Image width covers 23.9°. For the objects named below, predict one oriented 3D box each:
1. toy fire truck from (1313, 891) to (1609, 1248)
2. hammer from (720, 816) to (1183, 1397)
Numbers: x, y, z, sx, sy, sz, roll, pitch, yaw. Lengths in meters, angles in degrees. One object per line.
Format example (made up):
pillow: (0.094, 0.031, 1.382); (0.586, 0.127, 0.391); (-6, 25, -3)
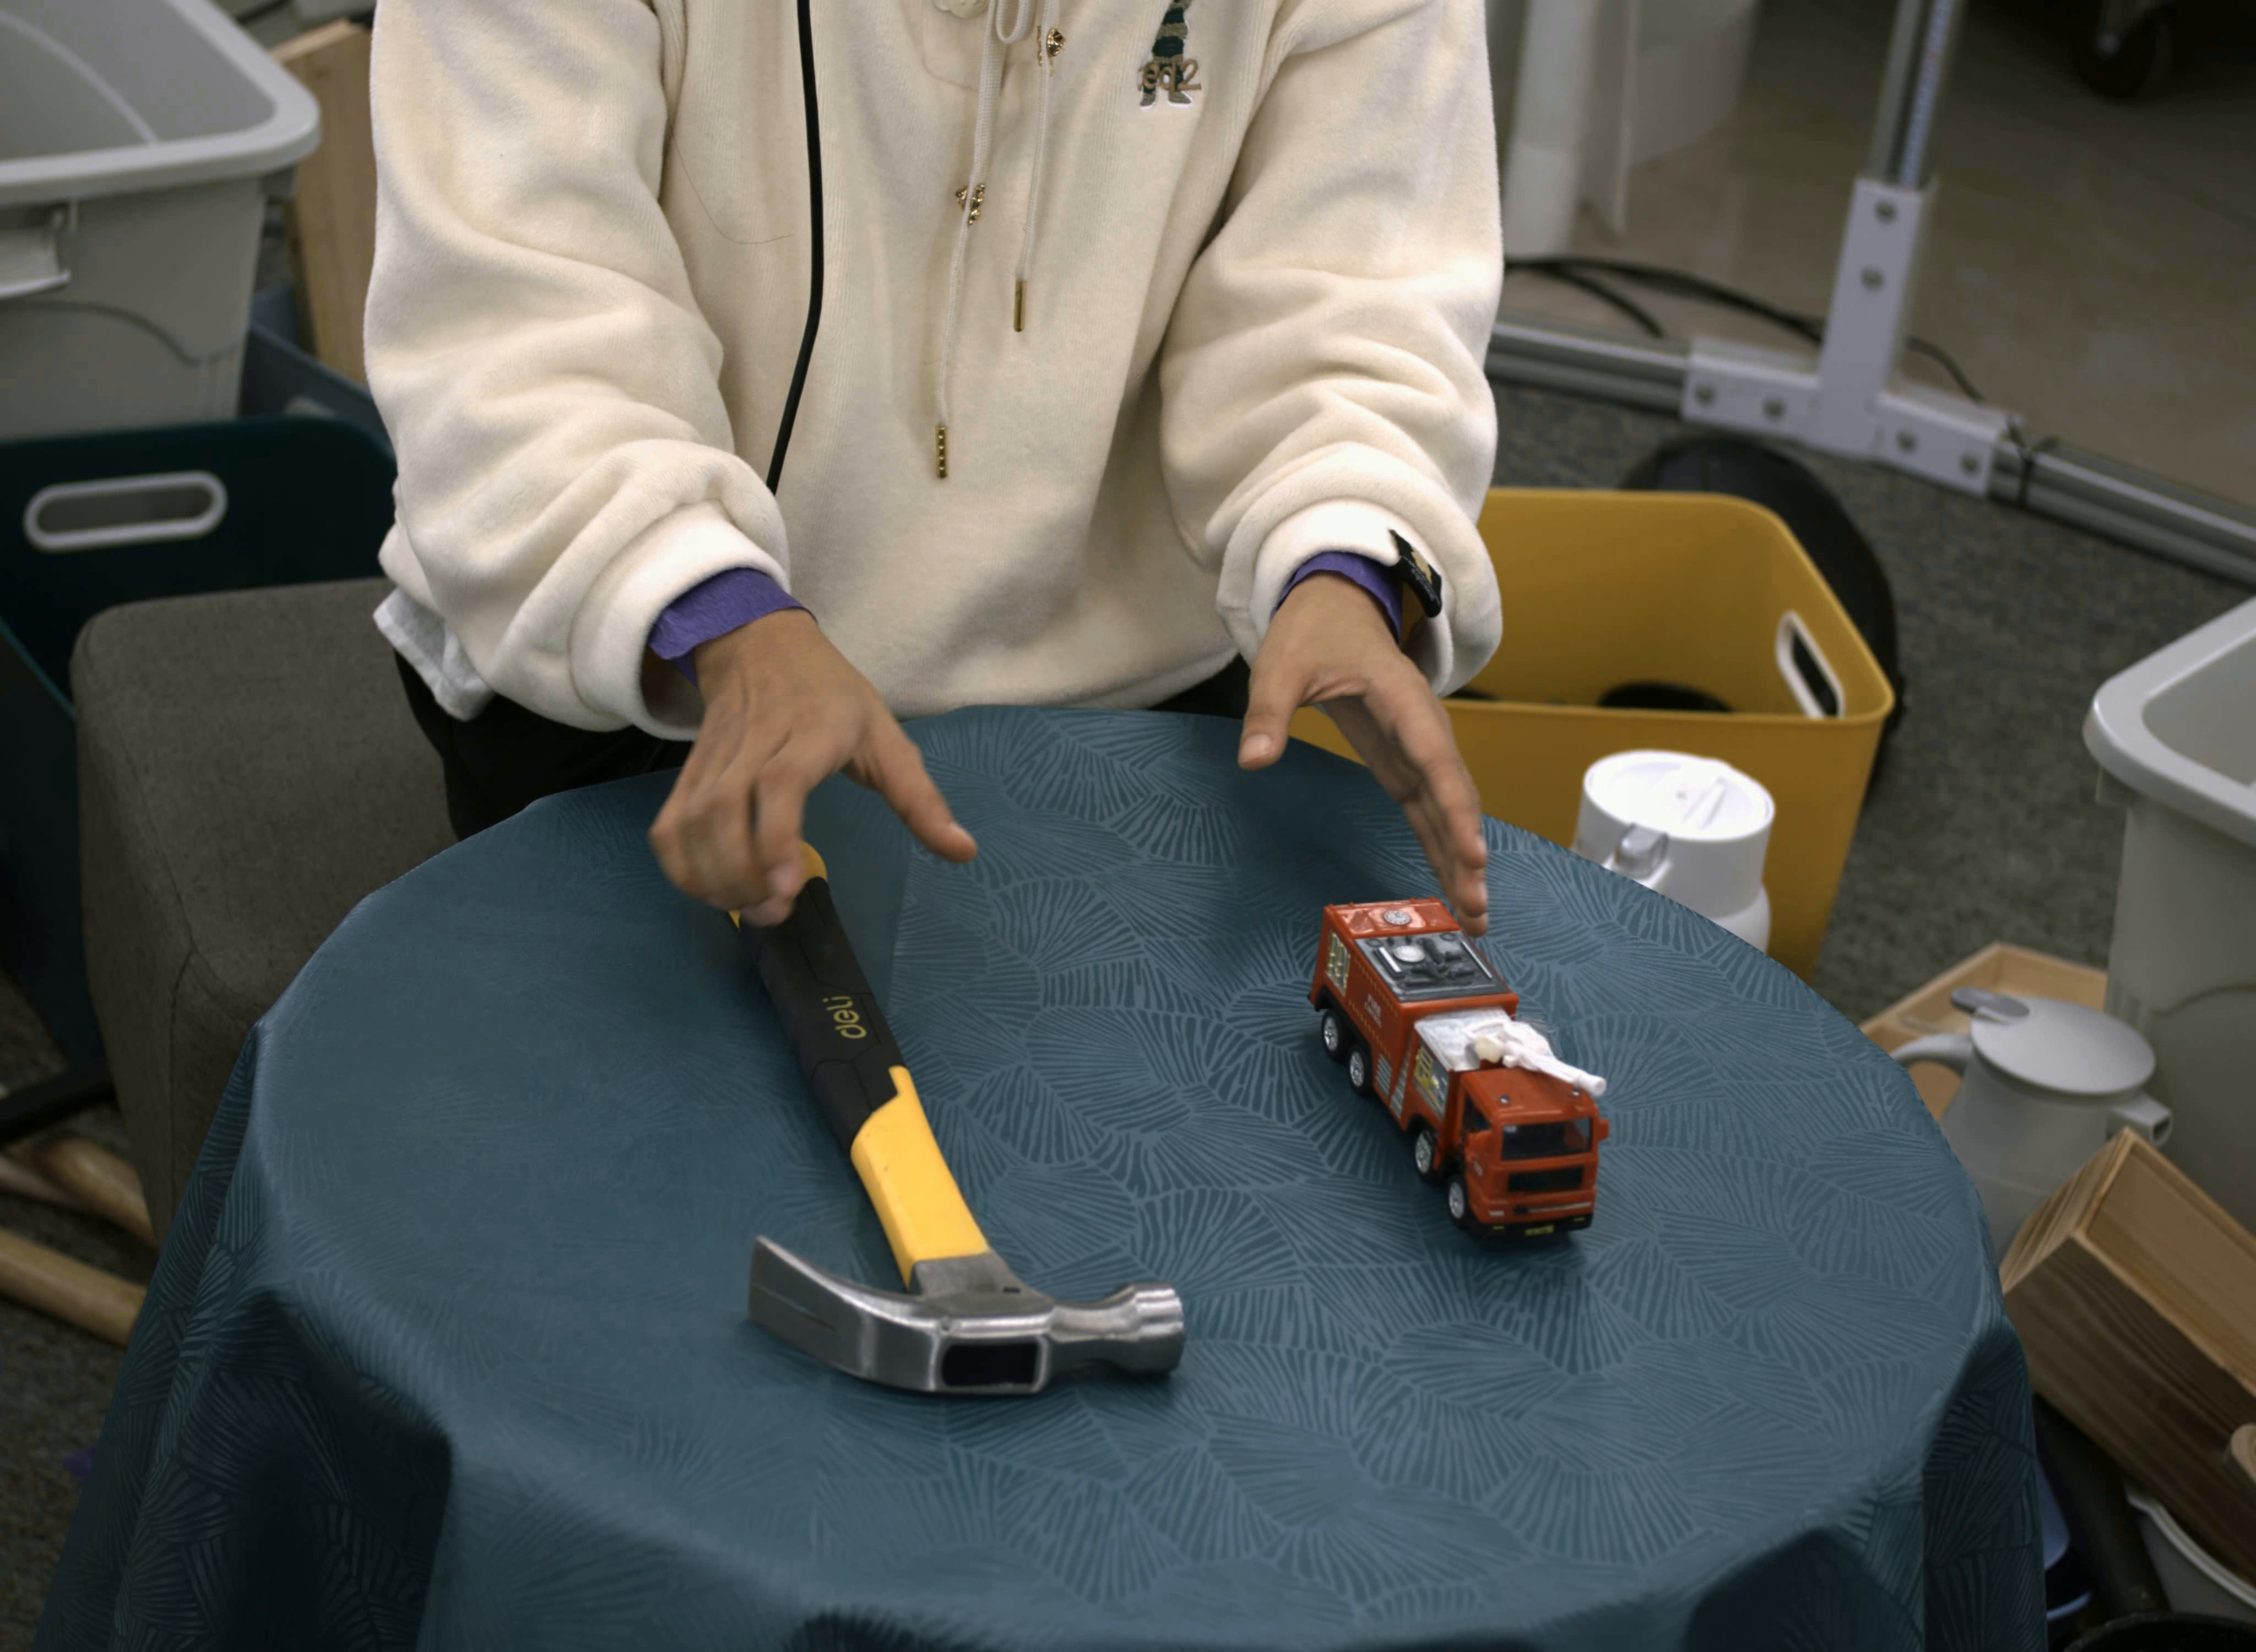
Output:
toy fire truck: (0.114, 0.083, 1.843); (0.053, 0.070, 0.169); (-4, 28, -20)
hammer: (-0.087, 0.087, 1.811); (0.130, 0.032, 0.341); (-3, 30, -15)
